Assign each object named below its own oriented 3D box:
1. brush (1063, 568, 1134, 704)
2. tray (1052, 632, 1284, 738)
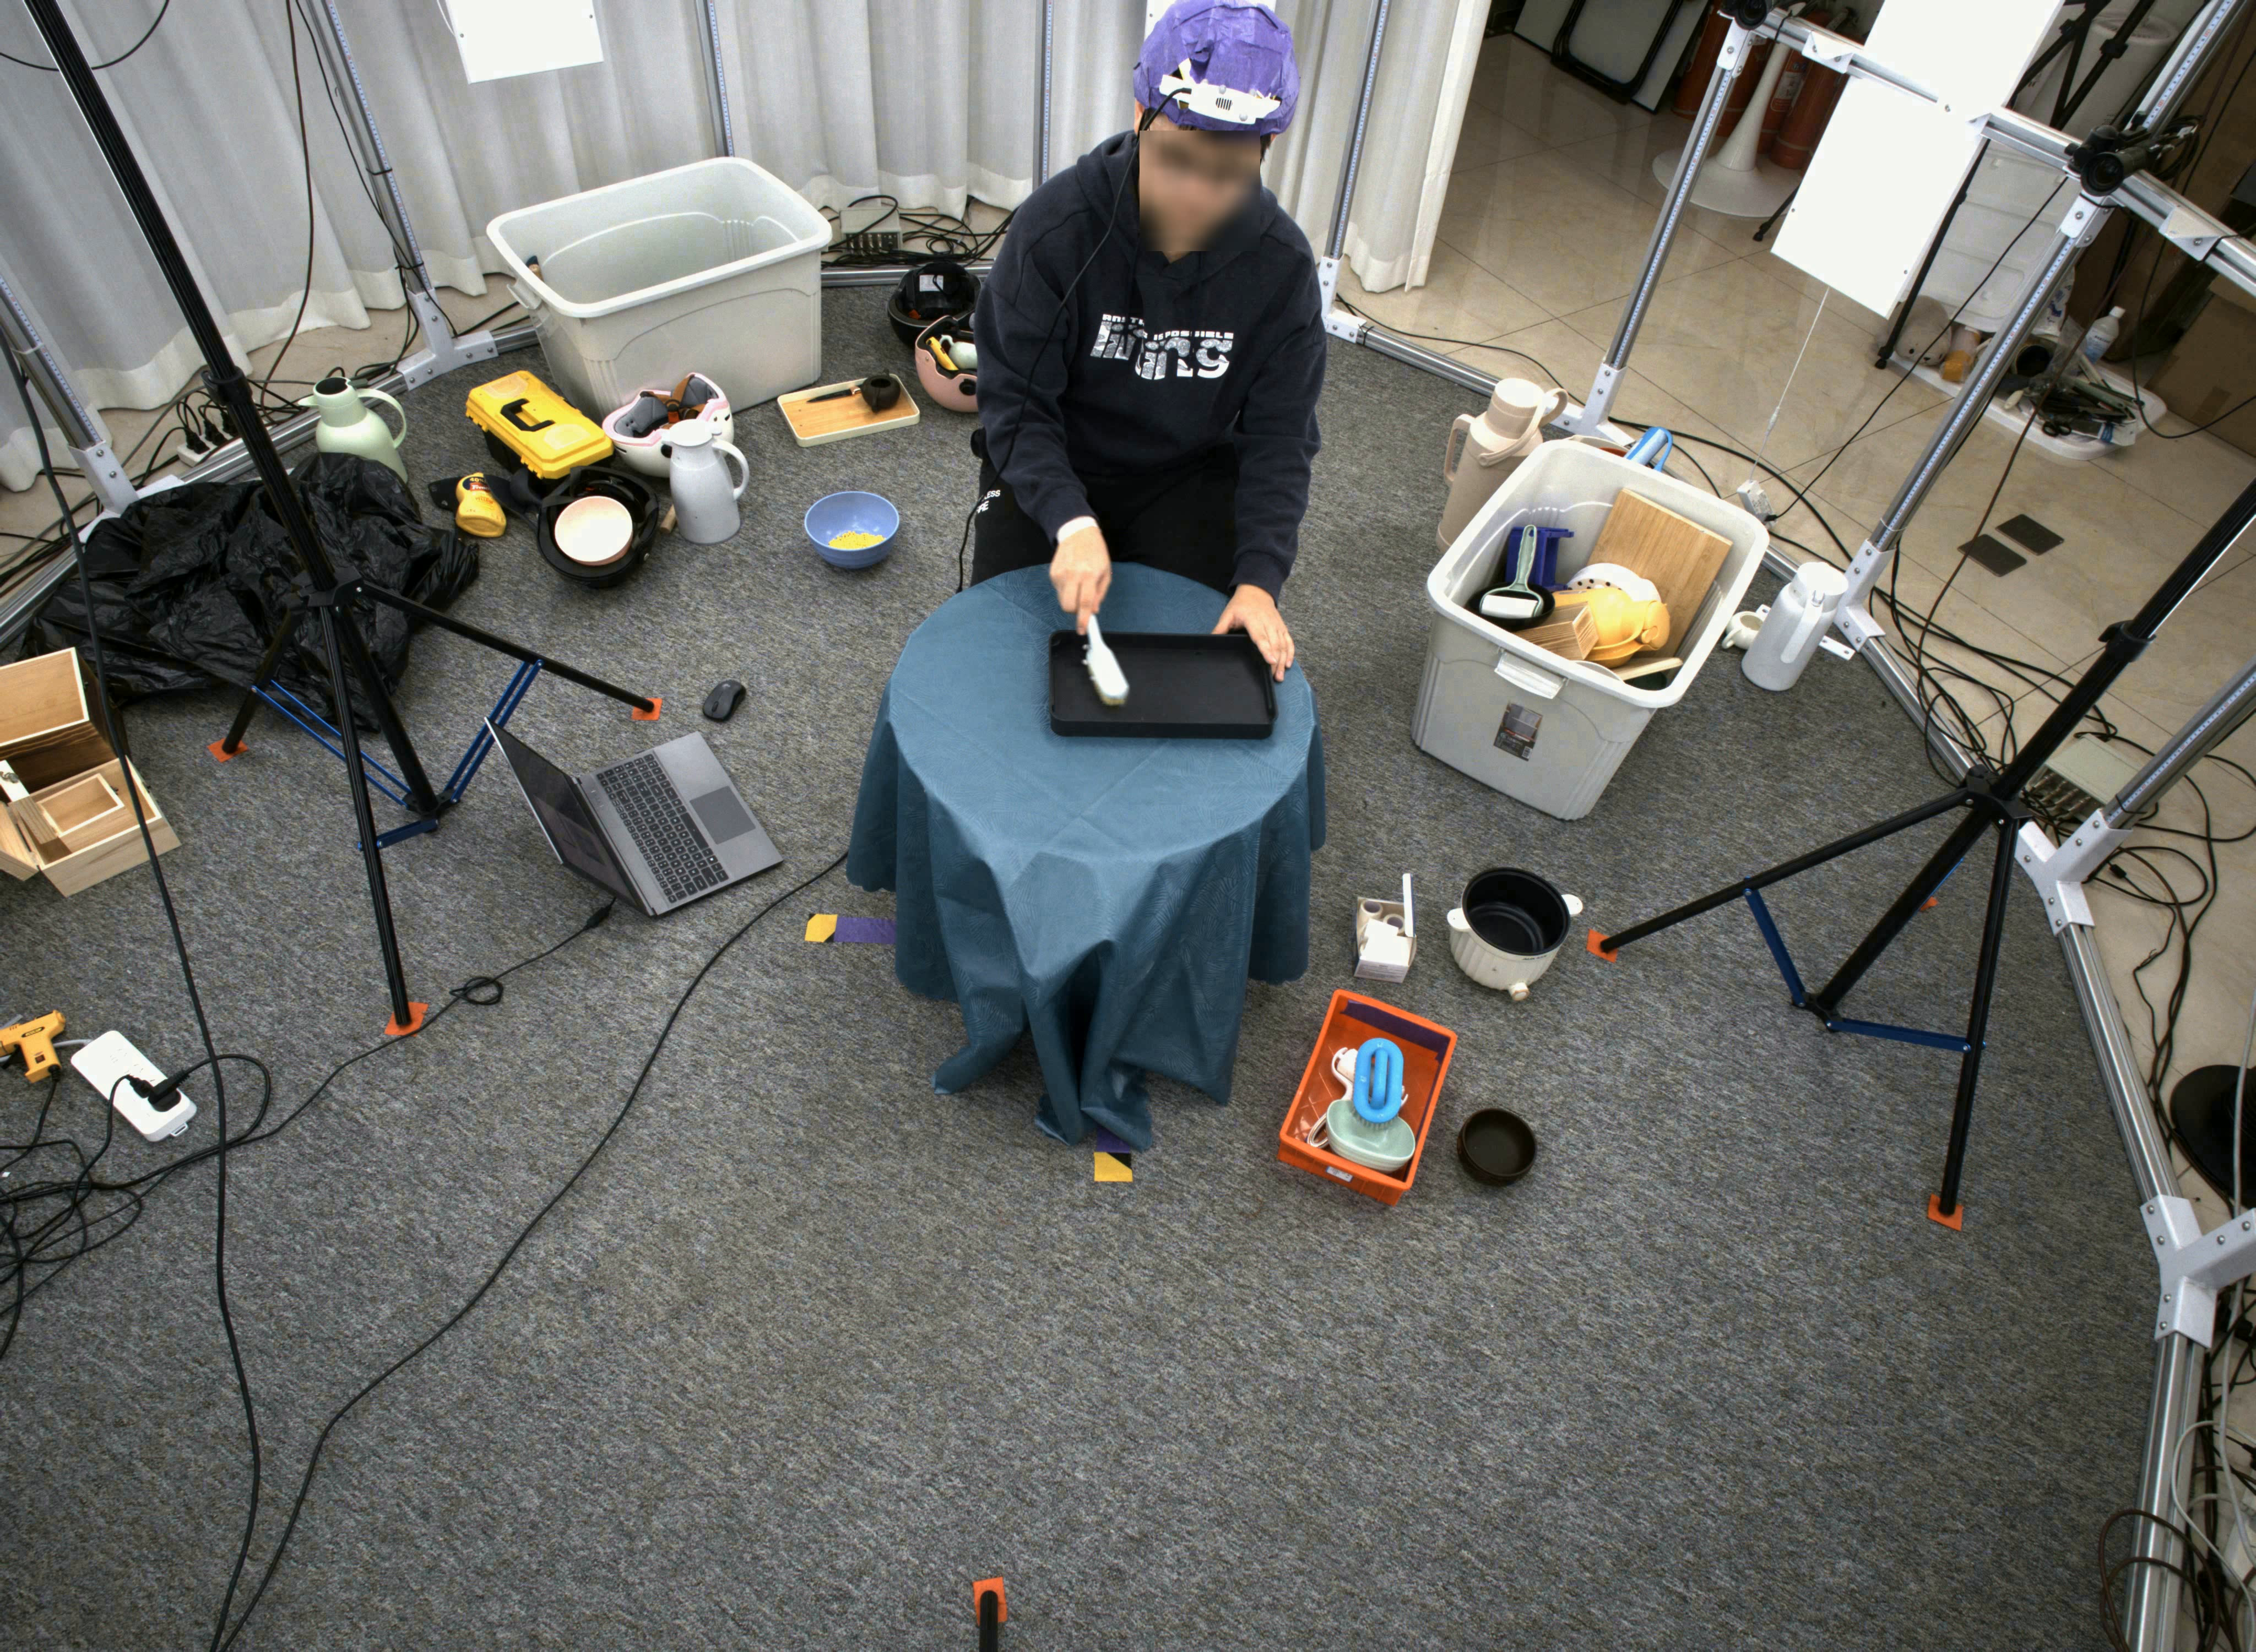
[{"bbox_3d":[-0.046,-0.275,1.841,0.038,0.049,0.233,-18,68,-14],"label":"brush"},{"bbox_3d":[0.053,-0.202,1.822,0.317,0.036,0.189,-1,49,-5],"label":"tray"}]
